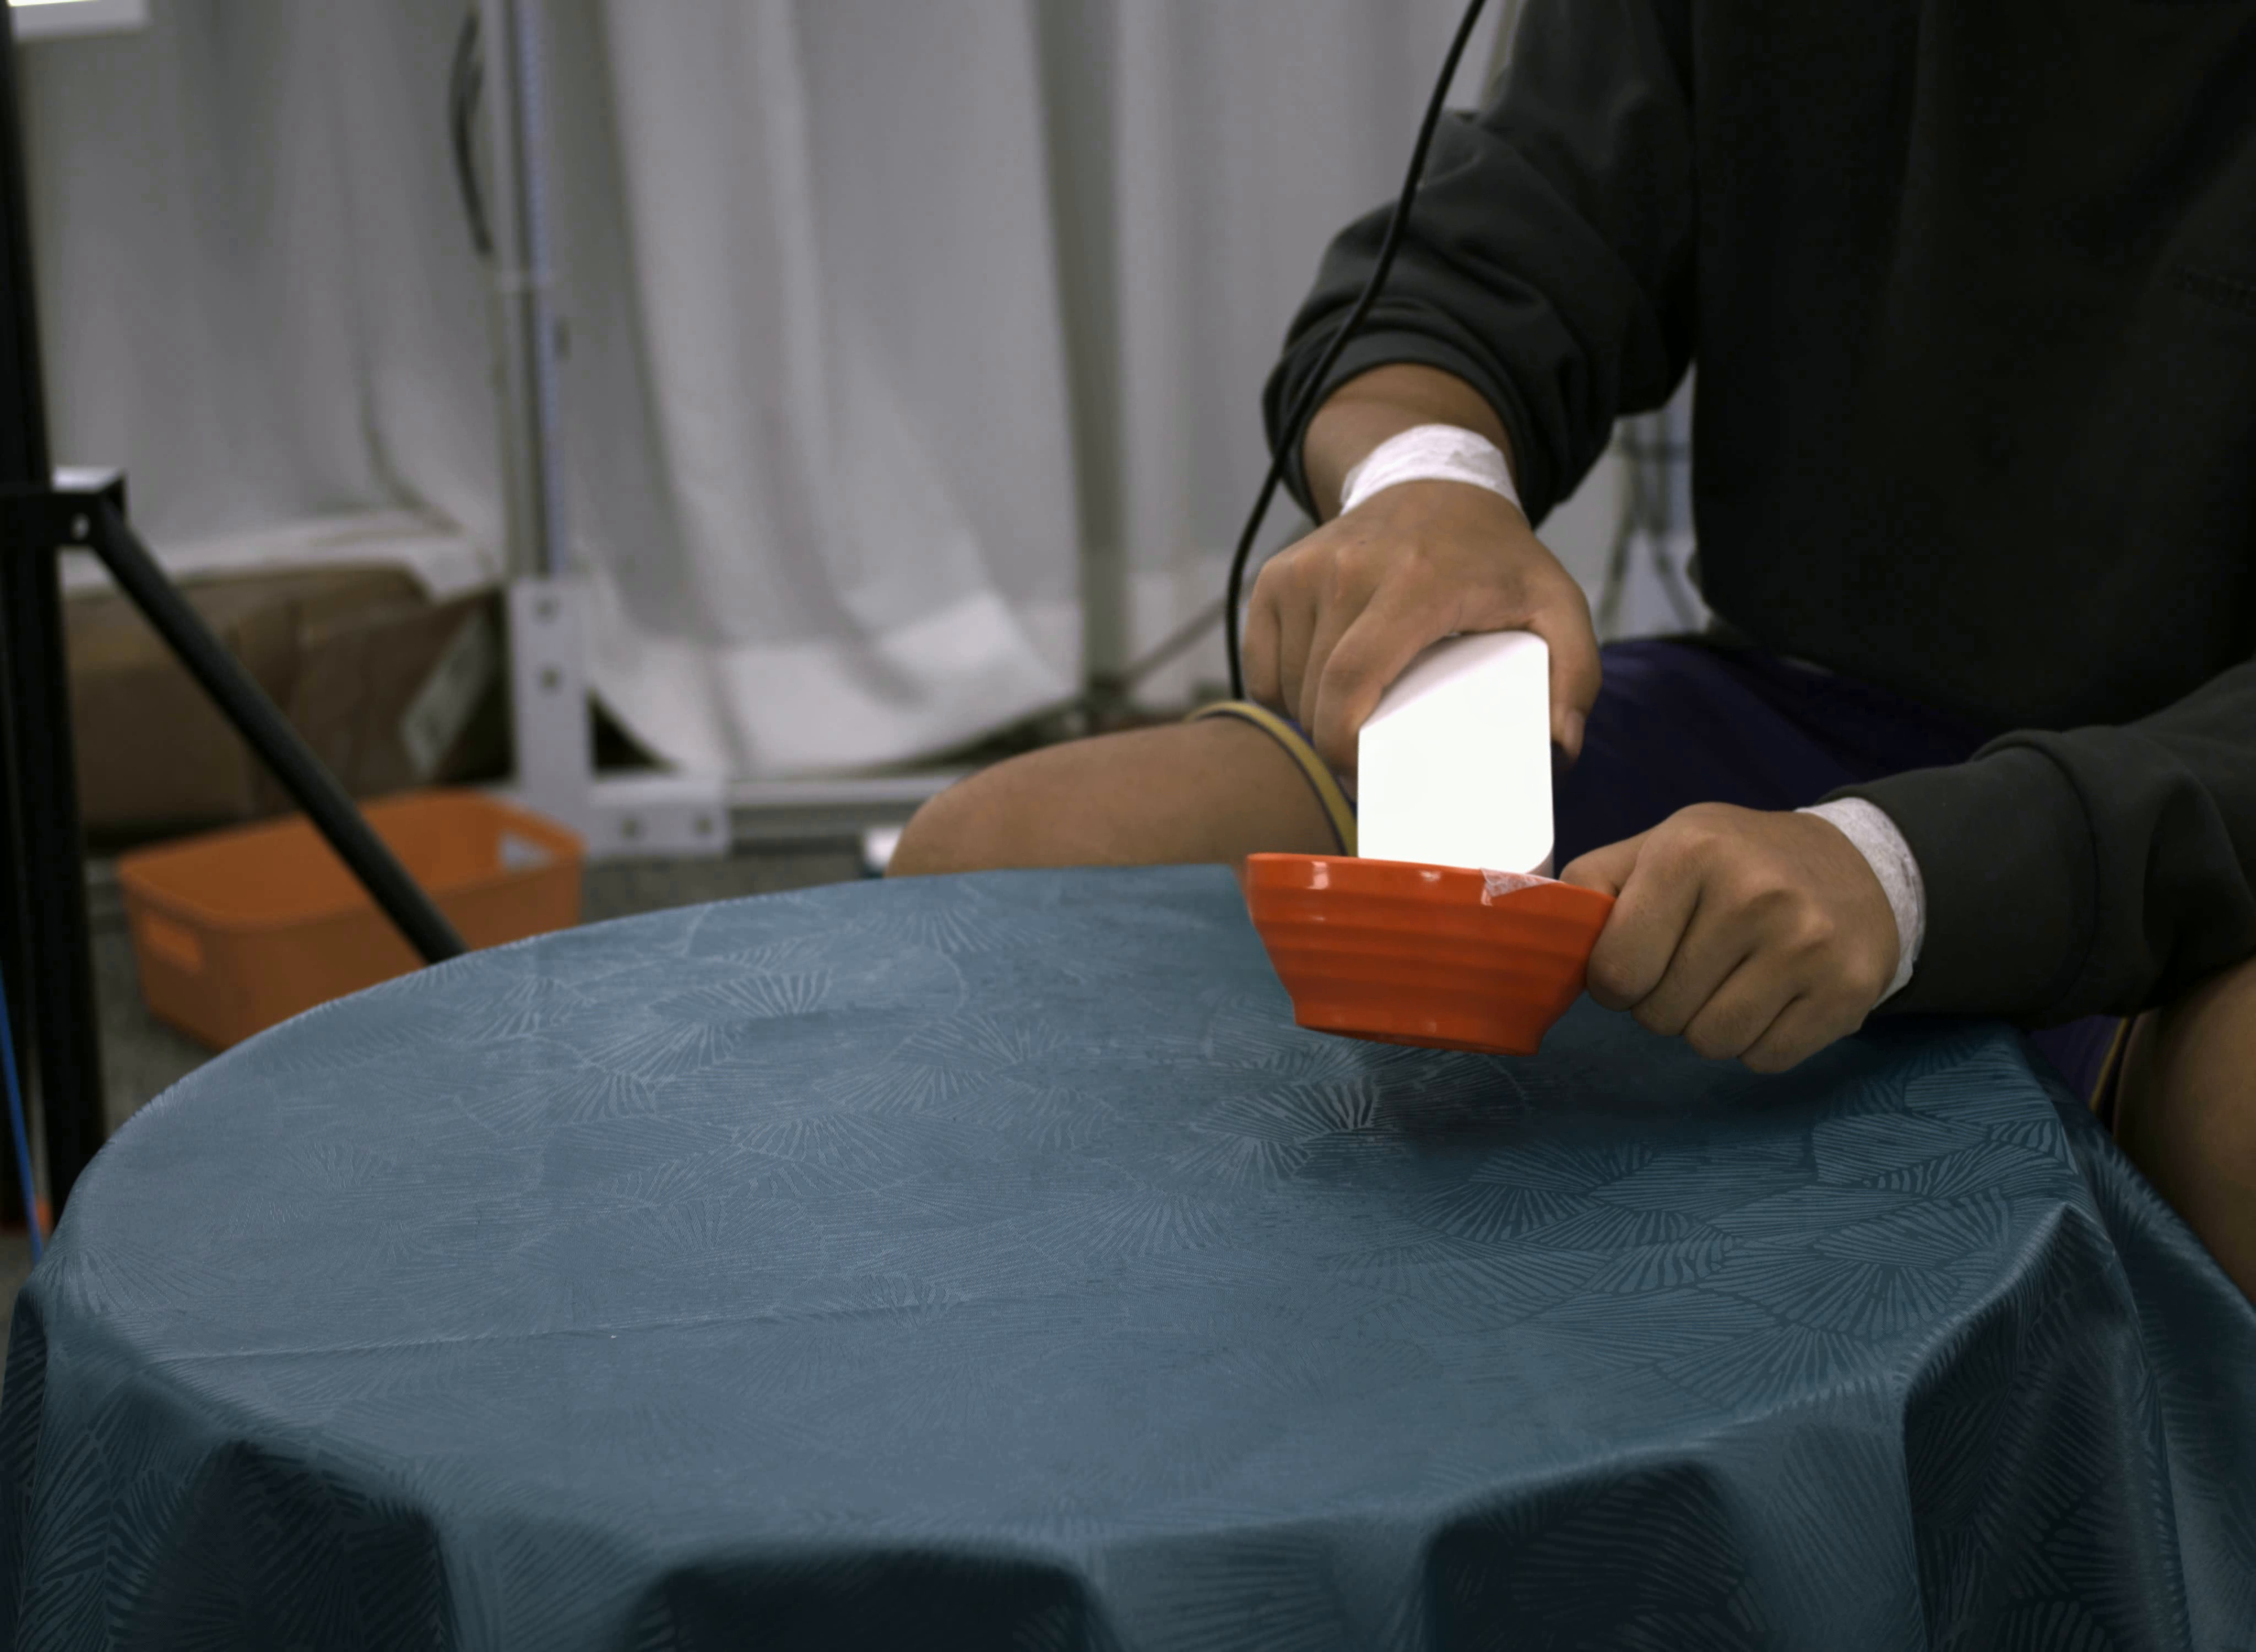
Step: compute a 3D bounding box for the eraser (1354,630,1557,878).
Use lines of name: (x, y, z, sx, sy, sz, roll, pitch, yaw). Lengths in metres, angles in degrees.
eraser: (0.105, -0.016, 1.677, 0.063, 0.034, 0.132, -3, 39, 8)

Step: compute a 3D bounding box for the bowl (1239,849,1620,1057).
bowl: (0.089, 0.040, 1.603, 0.118, 0.051, 0.119, 7, -5, -1)
